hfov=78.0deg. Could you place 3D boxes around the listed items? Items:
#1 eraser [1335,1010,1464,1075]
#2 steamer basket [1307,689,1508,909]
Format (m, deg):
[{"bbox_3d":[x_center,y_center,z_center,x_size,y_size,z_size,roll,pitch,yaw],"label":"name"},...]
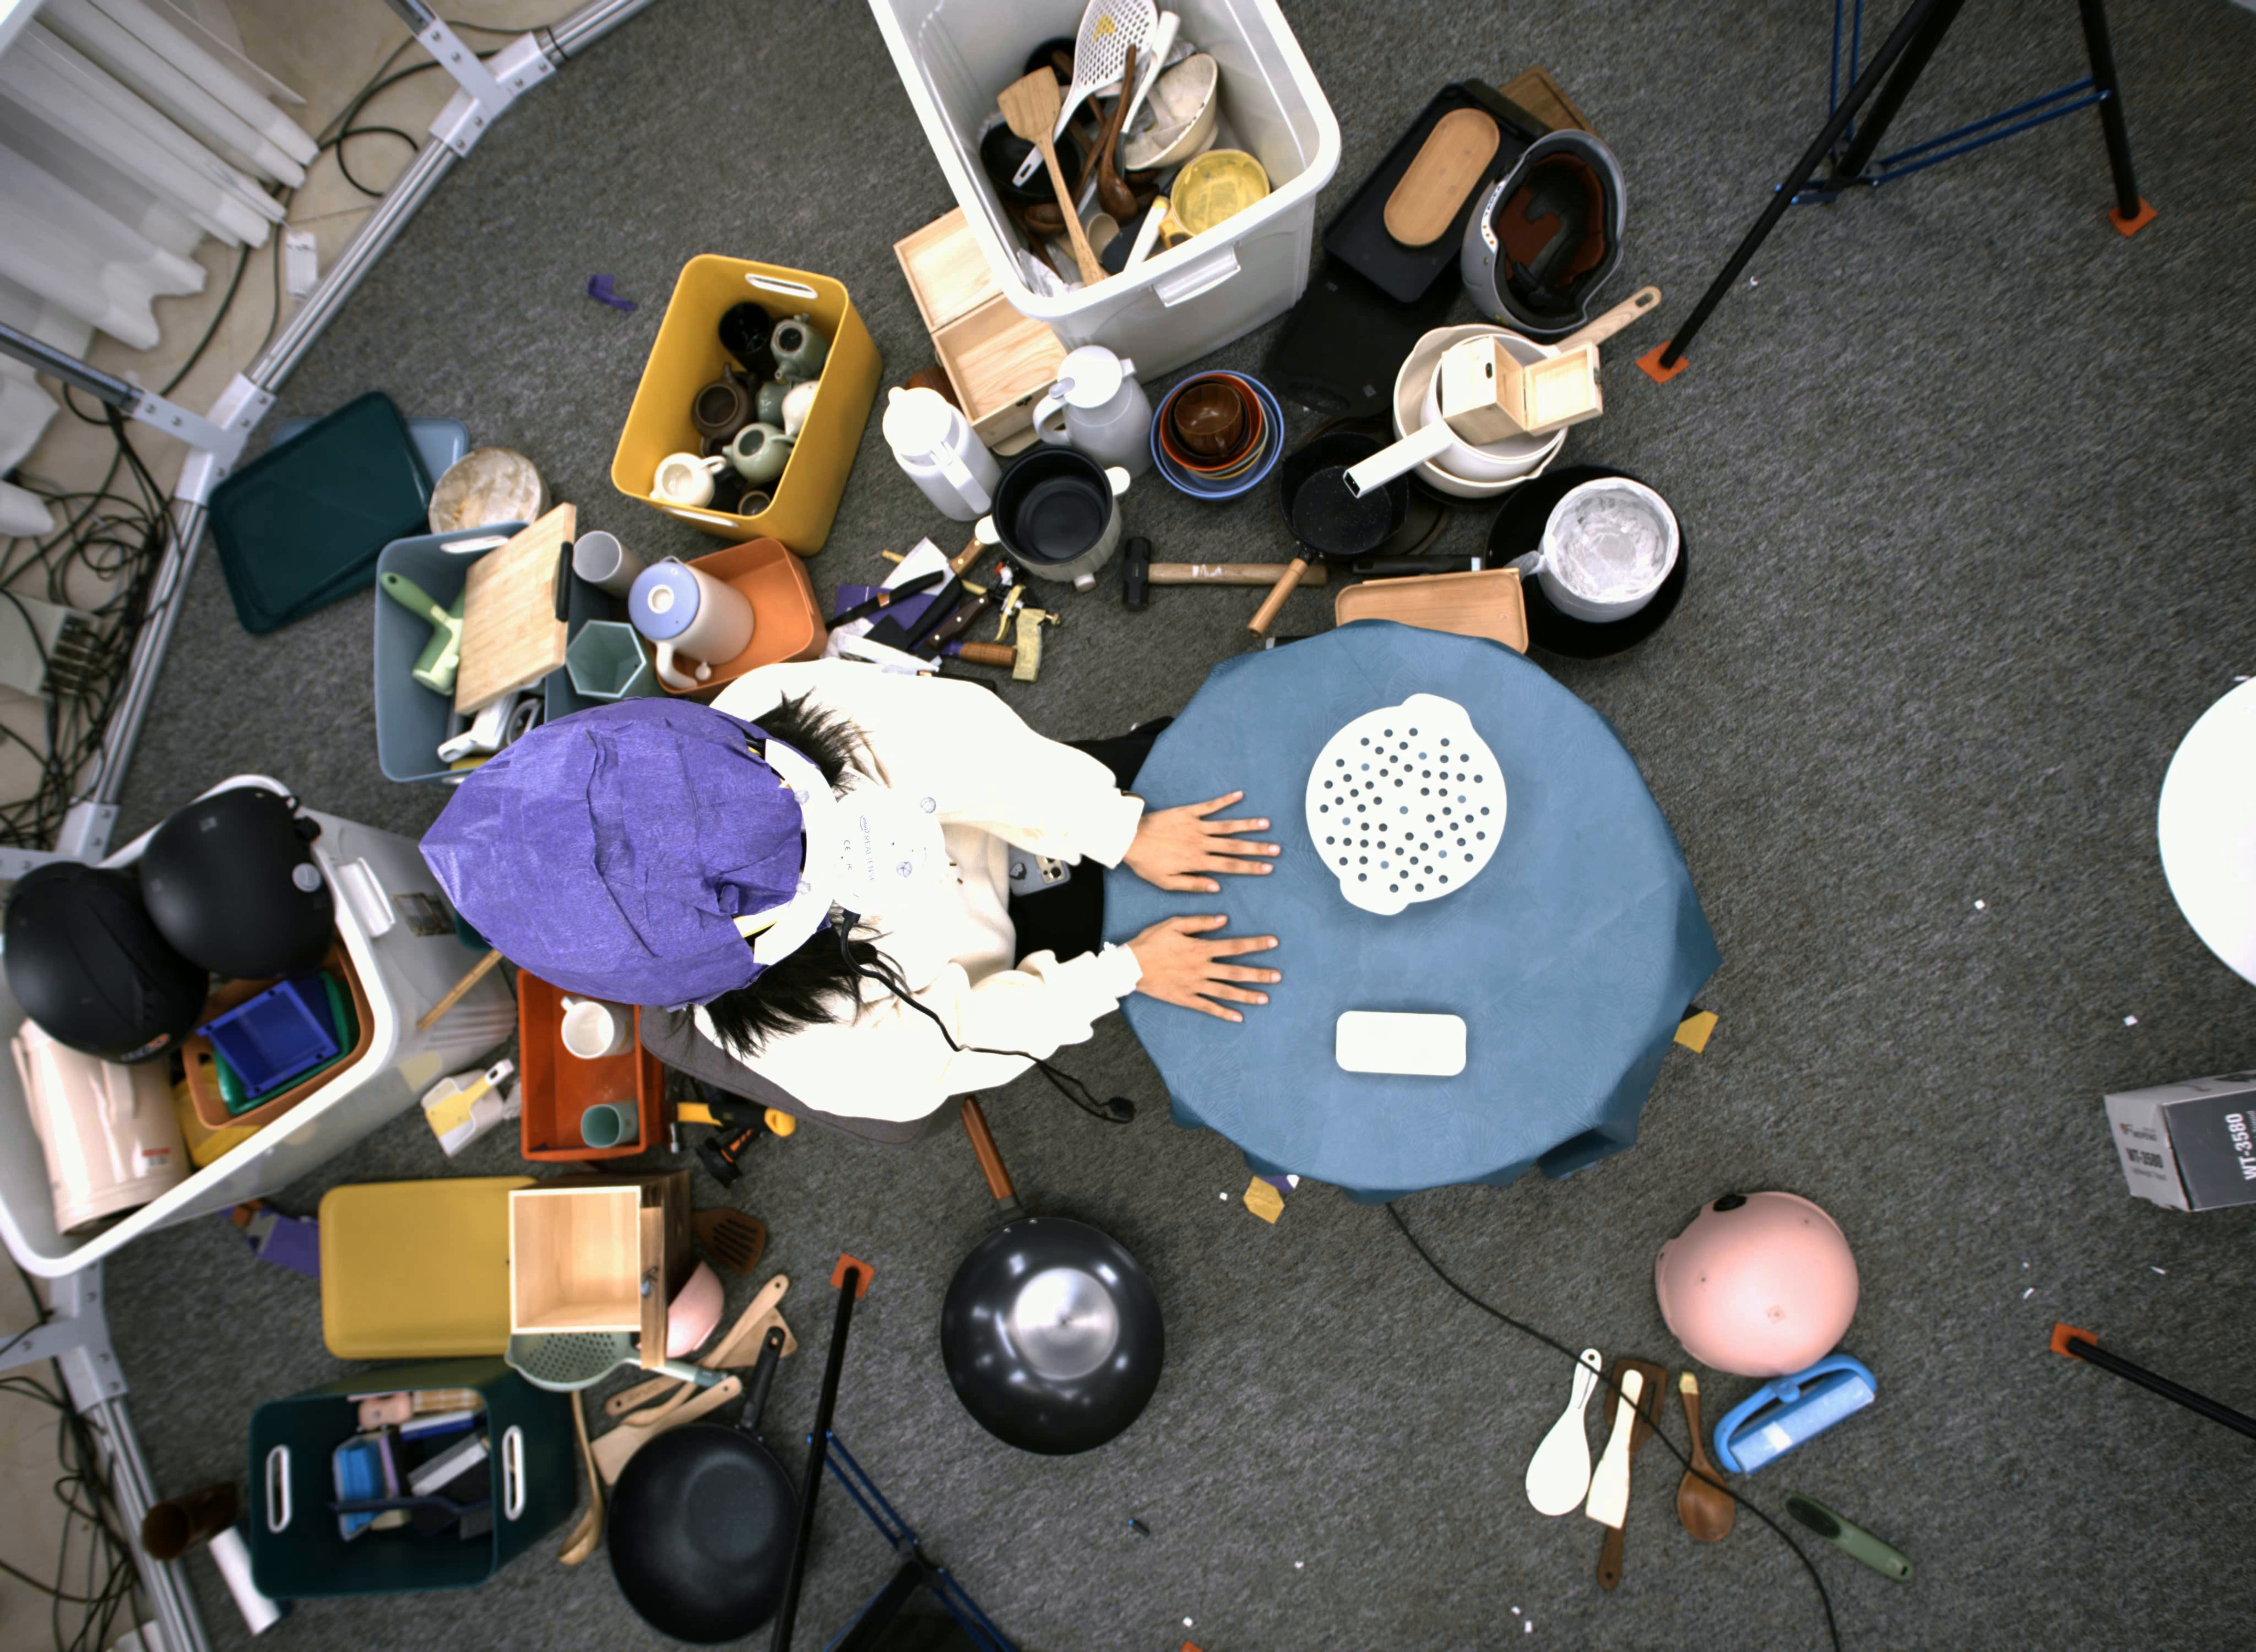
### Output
[{"bbox_3d":[0.281,0.221,1.434,0.132,0.034,0.063,2,87,10],"label":"eraser"},{"bbox_3d":[0.288,-0.026,1.428,0.202,0.069,0.230,19,89,12],"label":"steamer basket"}]
